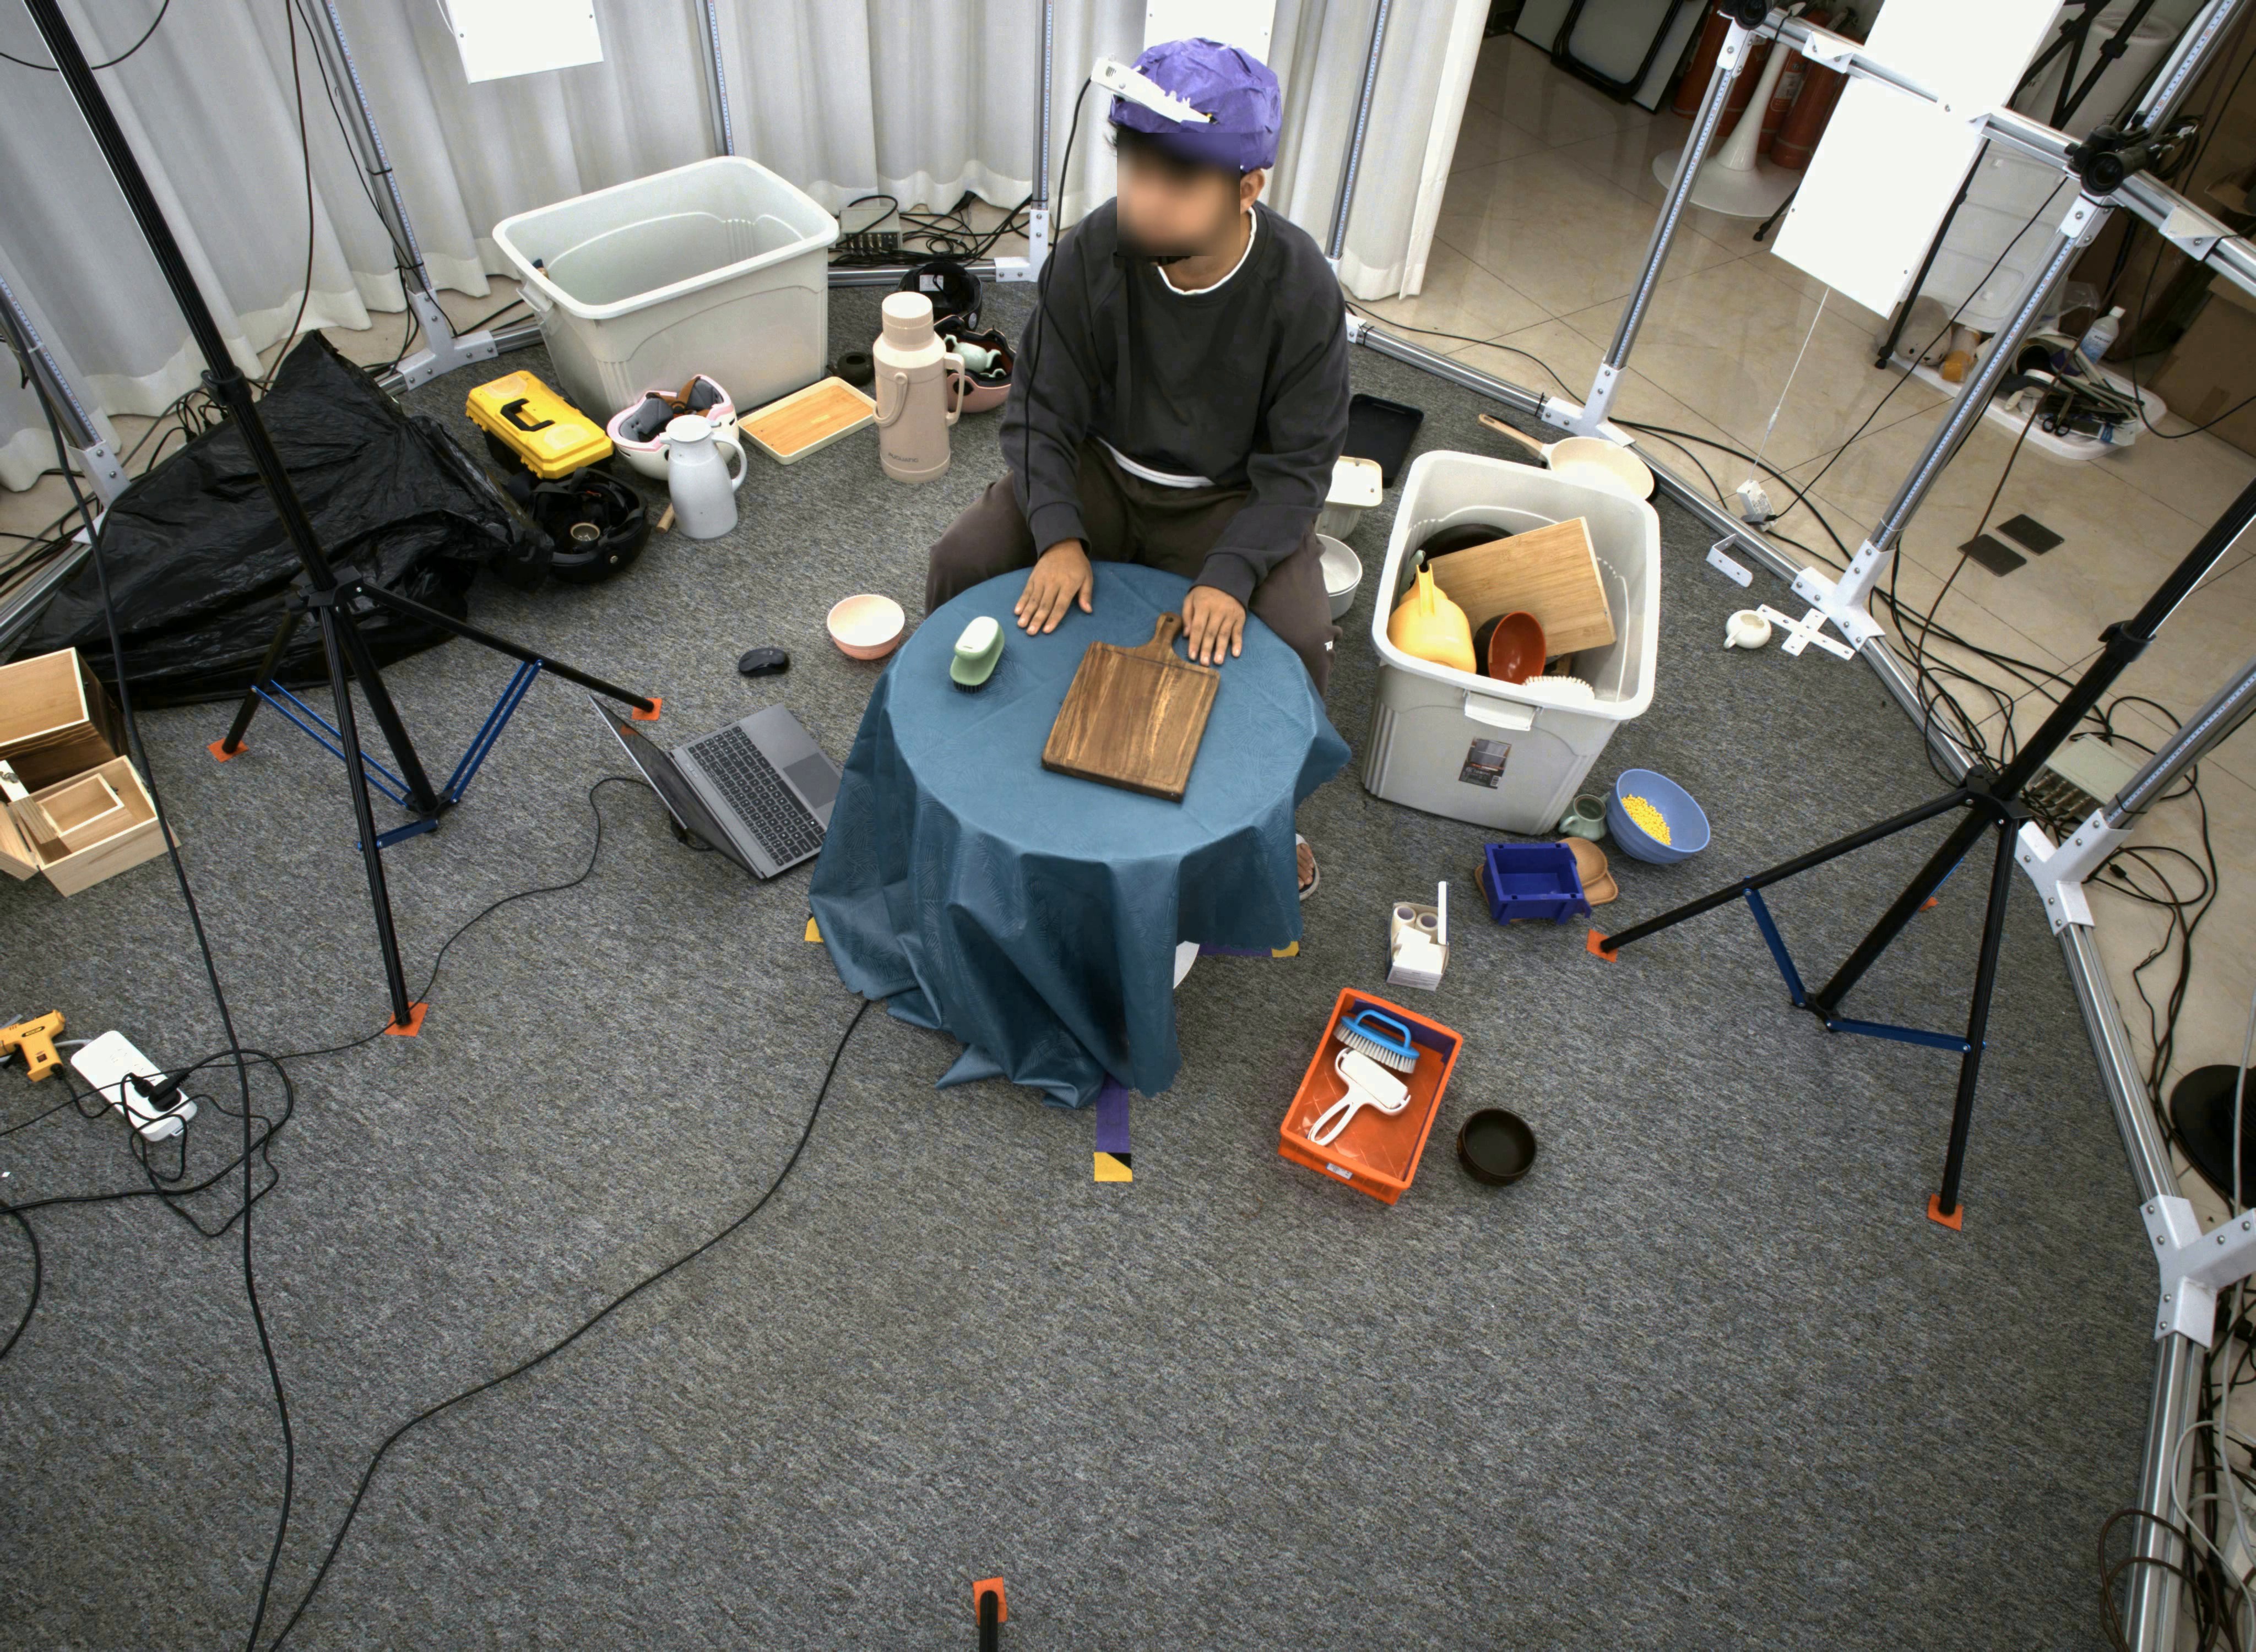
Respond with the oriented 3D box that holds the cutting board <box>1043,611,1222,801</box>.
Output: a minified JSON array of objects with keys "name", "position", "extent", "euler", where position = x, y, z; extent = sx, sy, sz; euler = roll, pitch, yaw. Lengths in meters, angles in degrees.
[{"name":"cutting board","position":[0.024,-0.187,1.816],"extent":[0.201,0.022,0.360],"euler":[14,49,7]}]

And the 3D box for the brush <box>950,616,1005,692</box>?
[{"name":"brush","position":[-0.214,-0.245,1.828],"extent":[0.060,0.074,0.125],"euler":[13,36,6]}]
